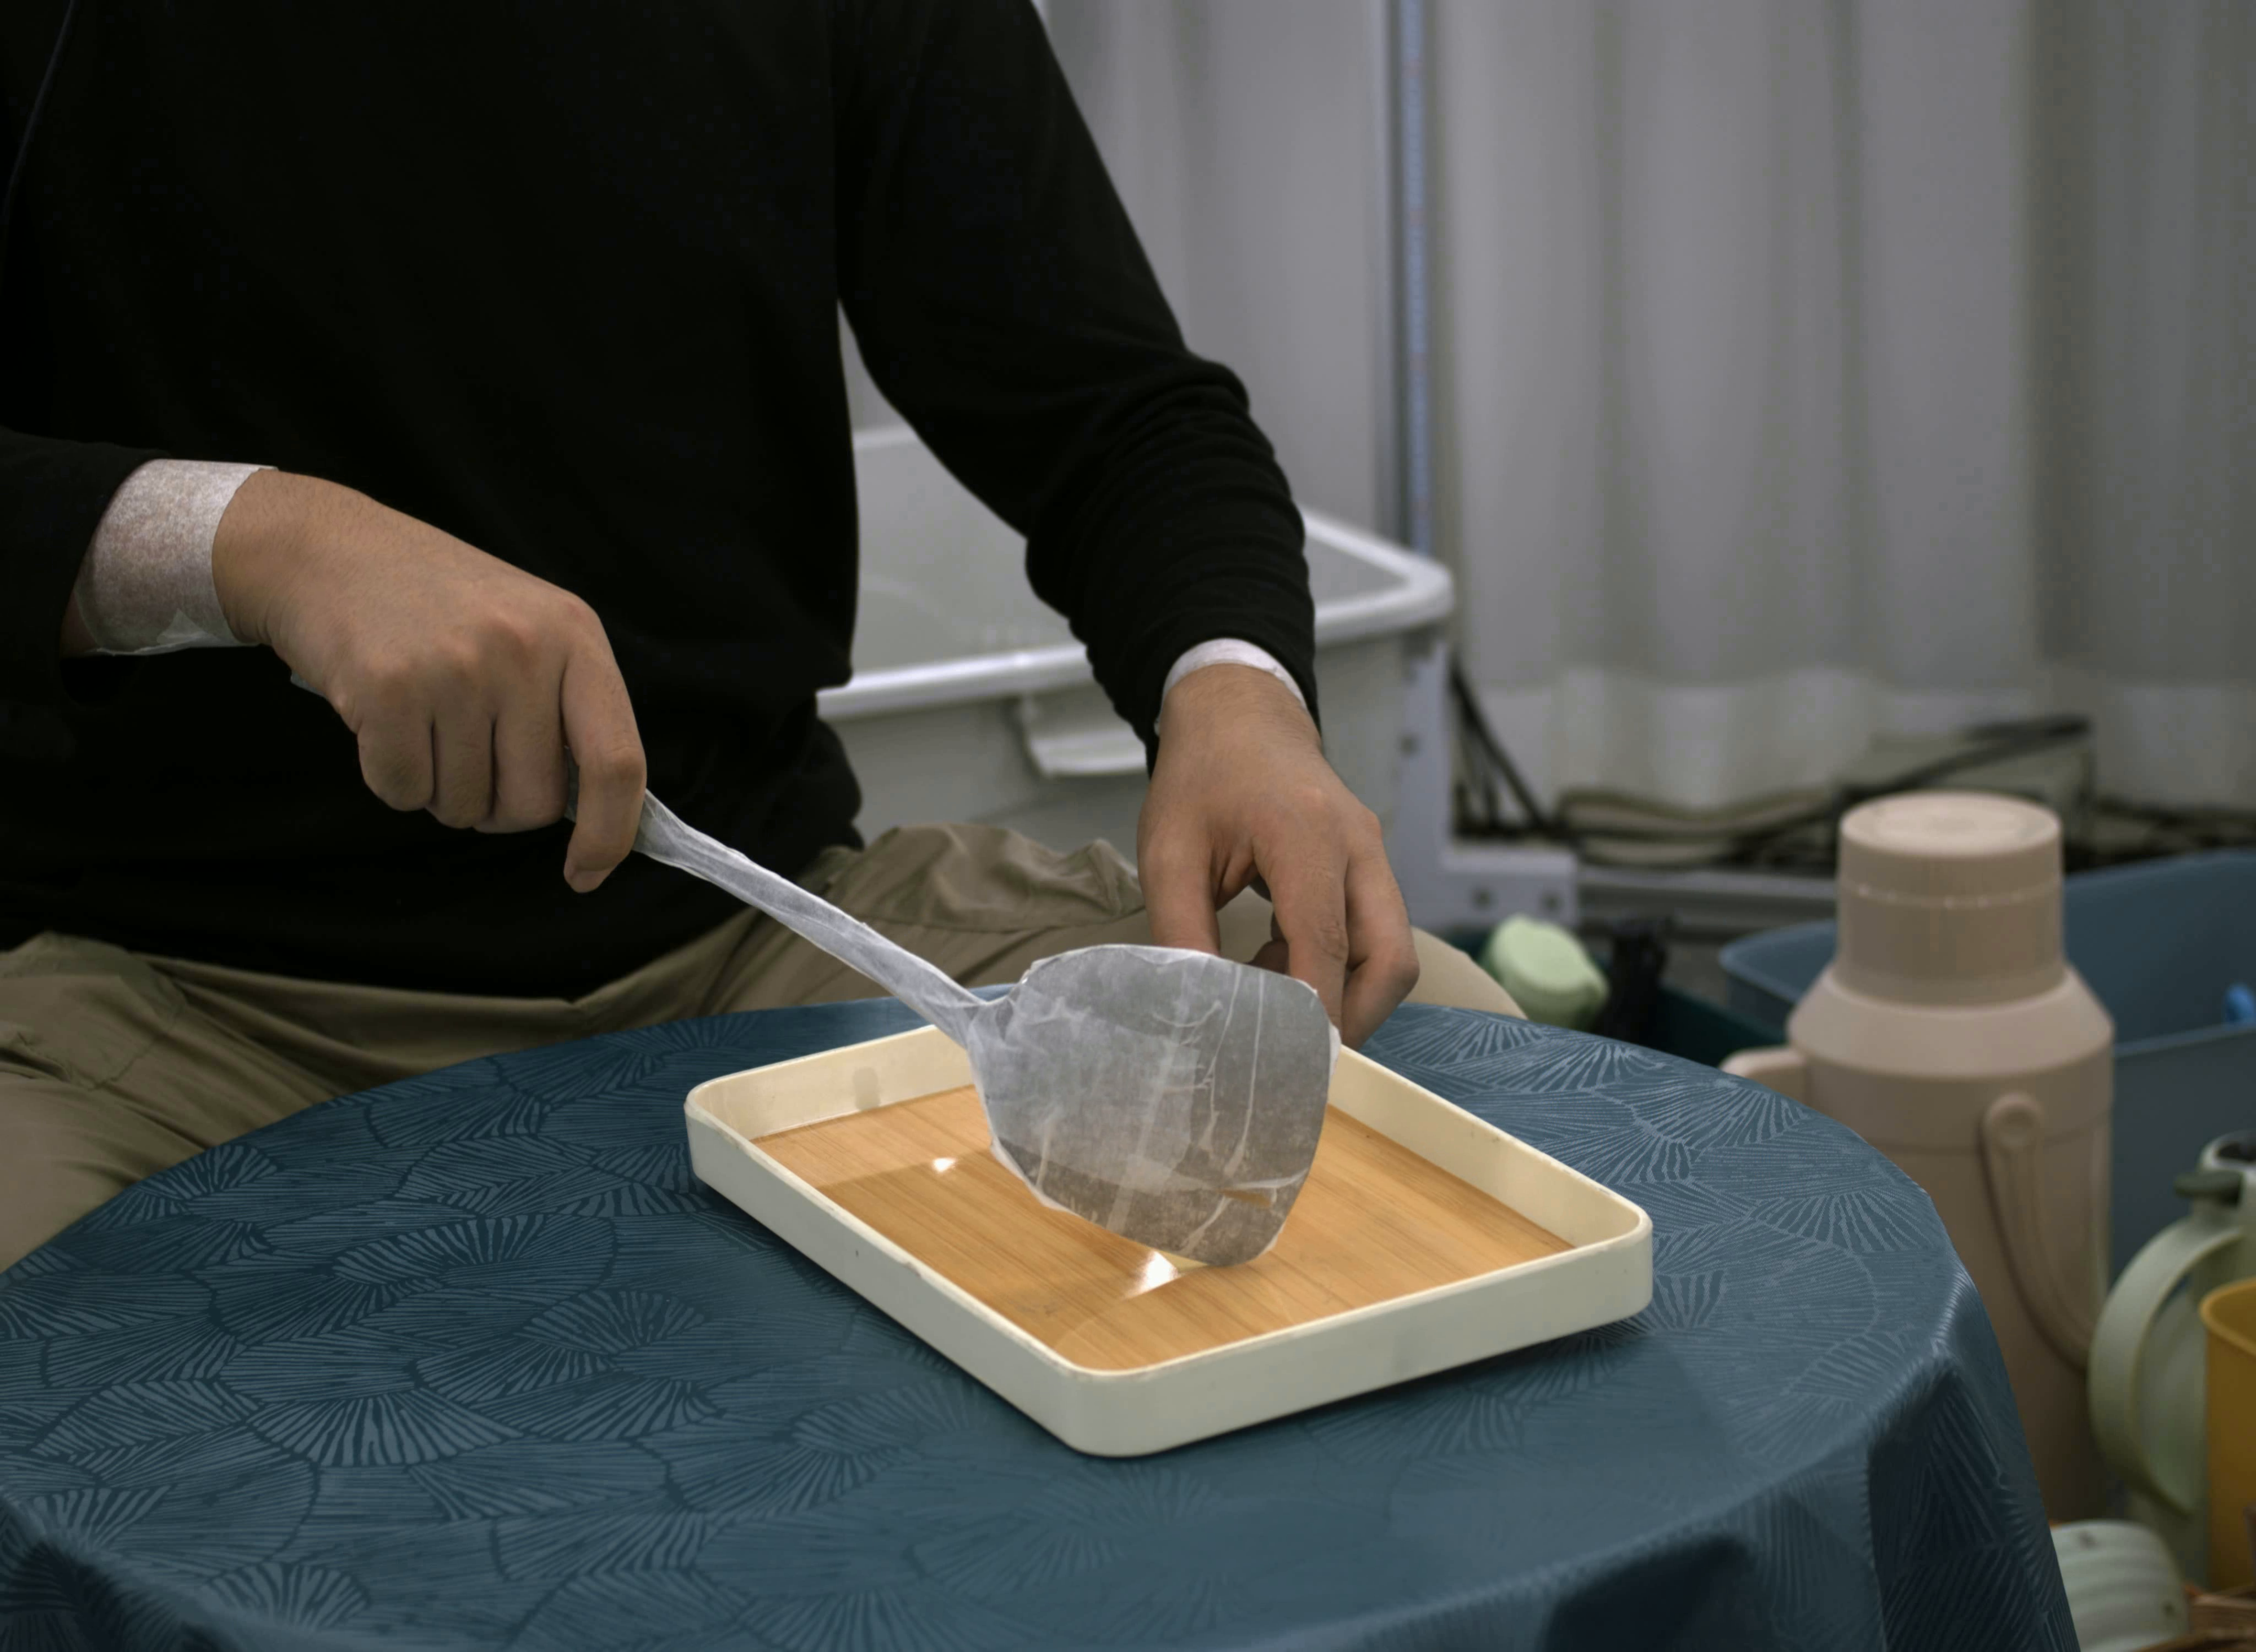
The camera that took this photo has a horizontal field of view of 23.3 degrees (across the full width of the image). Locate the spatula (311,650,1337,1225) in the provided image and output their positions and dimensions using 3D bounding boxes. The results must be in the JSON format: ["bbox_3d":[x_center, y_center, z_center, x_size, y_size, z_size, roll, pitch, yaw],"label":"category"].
[{"bbox_3d":[-0.098,0.014,1.640,0.367,0.098,0.045,27,32,28],"label":"spatula"}]

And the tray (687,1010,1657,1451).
[{"bbox_3d":[0.007,0.111,1.649,0.191,0.027,0.303,-13,19,-24],"label":"tray"}]
